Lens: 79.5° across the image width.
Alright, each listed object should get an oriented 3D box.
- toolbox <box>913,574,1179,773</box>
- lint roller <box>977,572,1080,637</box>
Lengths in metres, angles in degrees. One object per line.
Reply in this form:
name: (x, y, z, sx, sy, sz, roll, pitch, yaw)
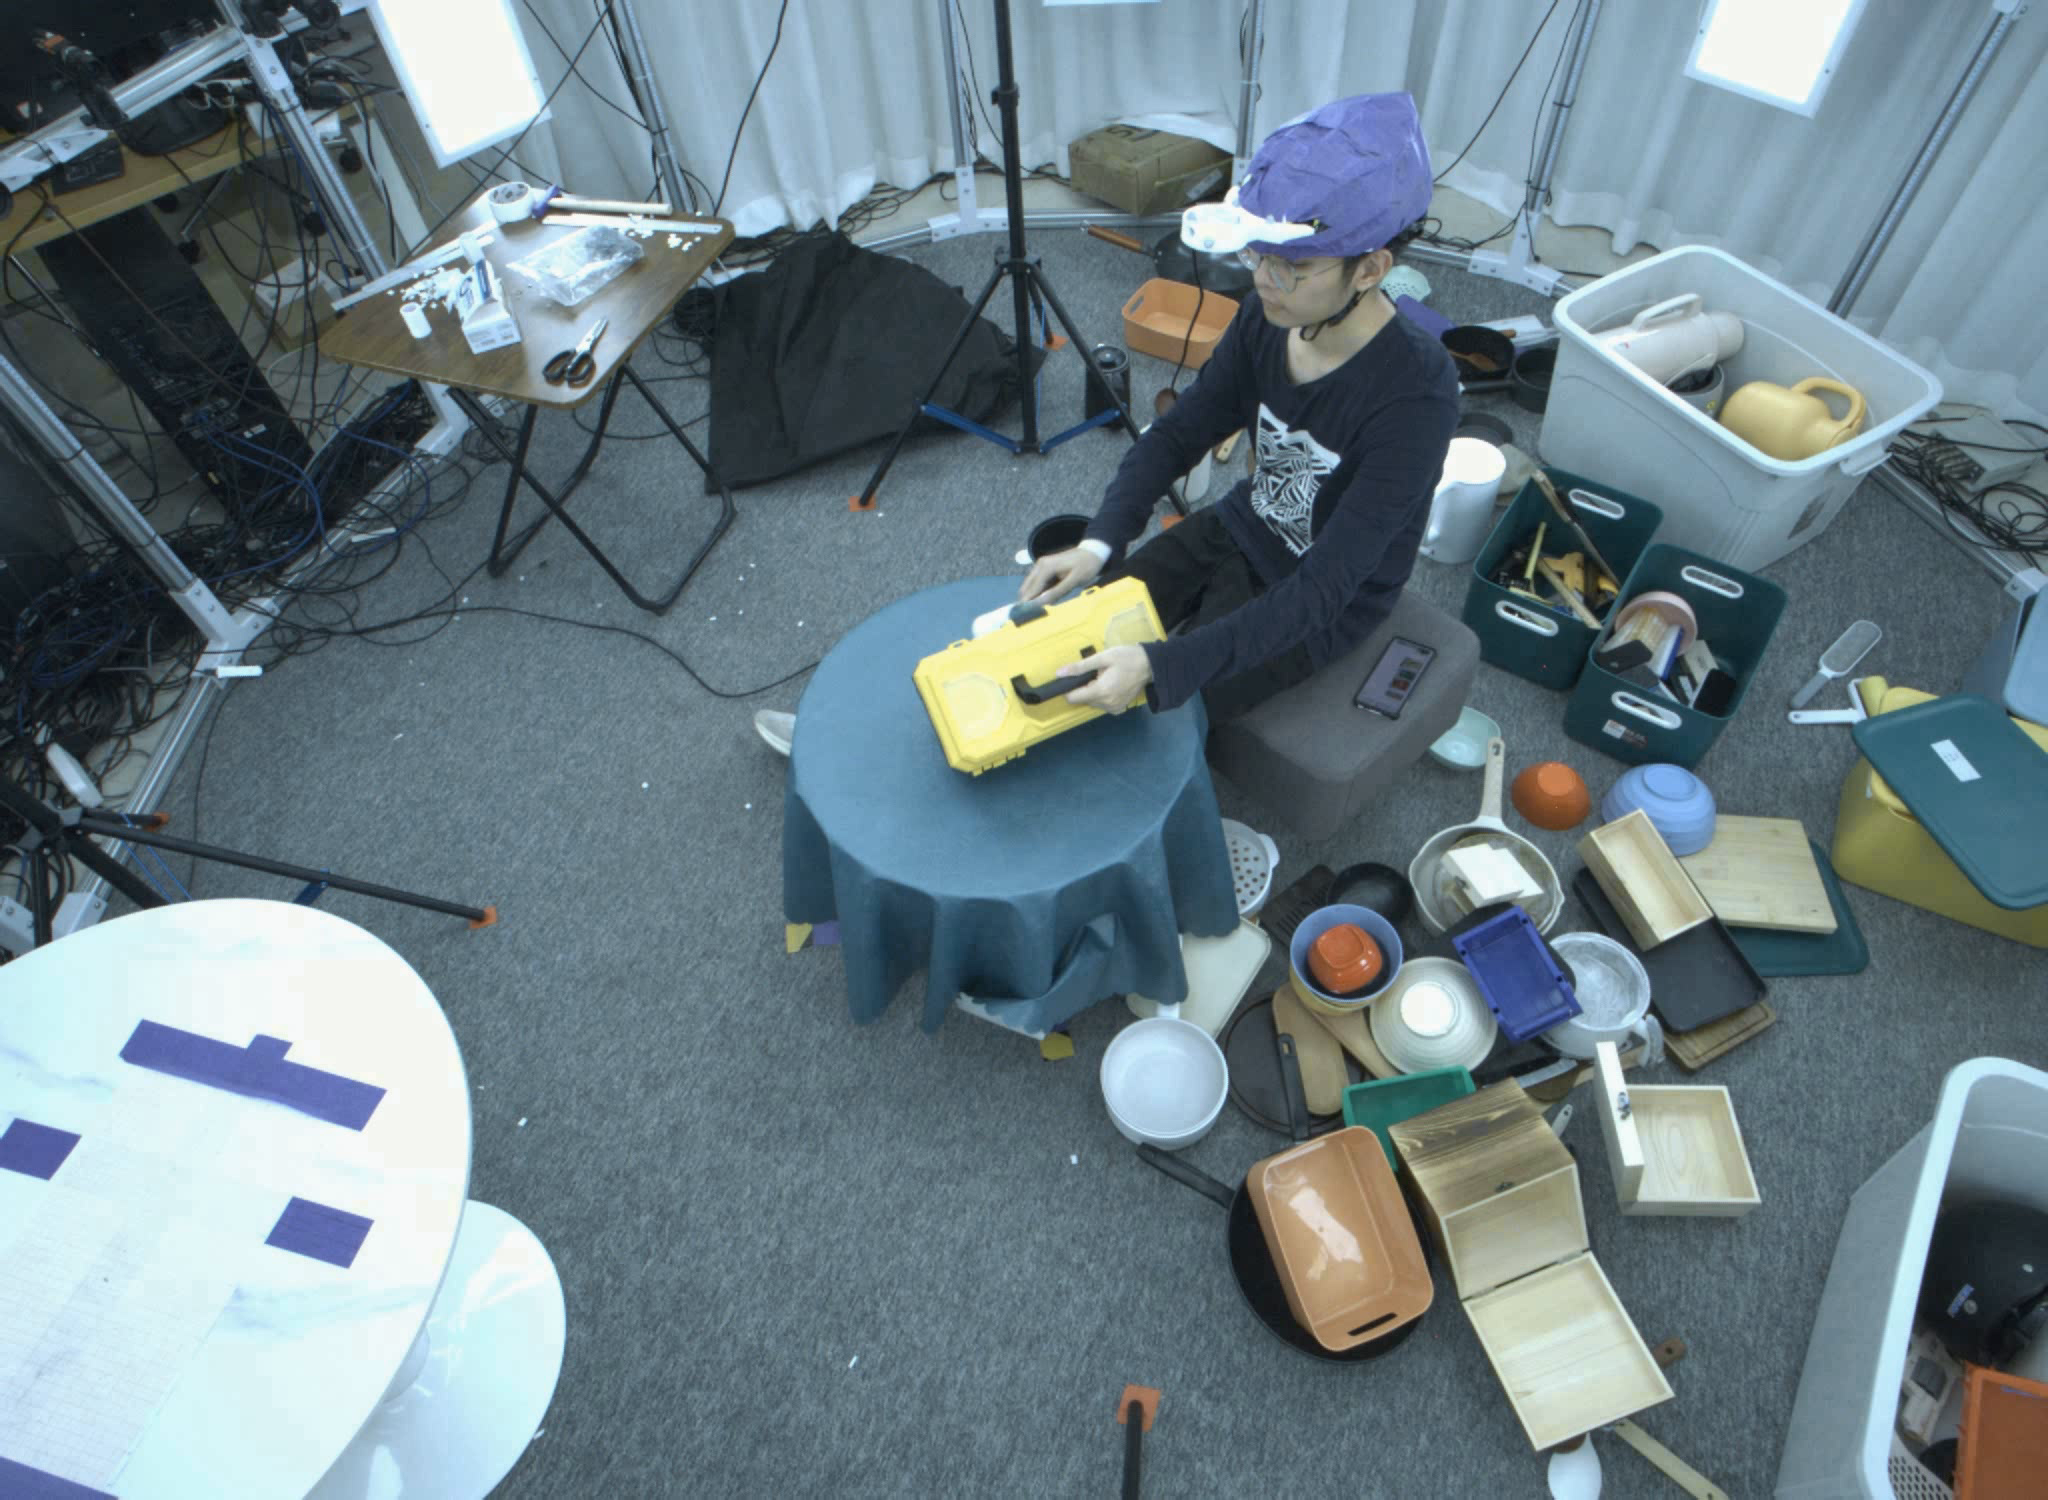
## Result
toolbox: (0.024, -0.107, 1.739, 0.354, 0.171, 0.182, -23, 94, -15)
lint roller: (0.016, -0.228, 1.821, 0.181, 0.132, 0.049, -47, 109, -29)
